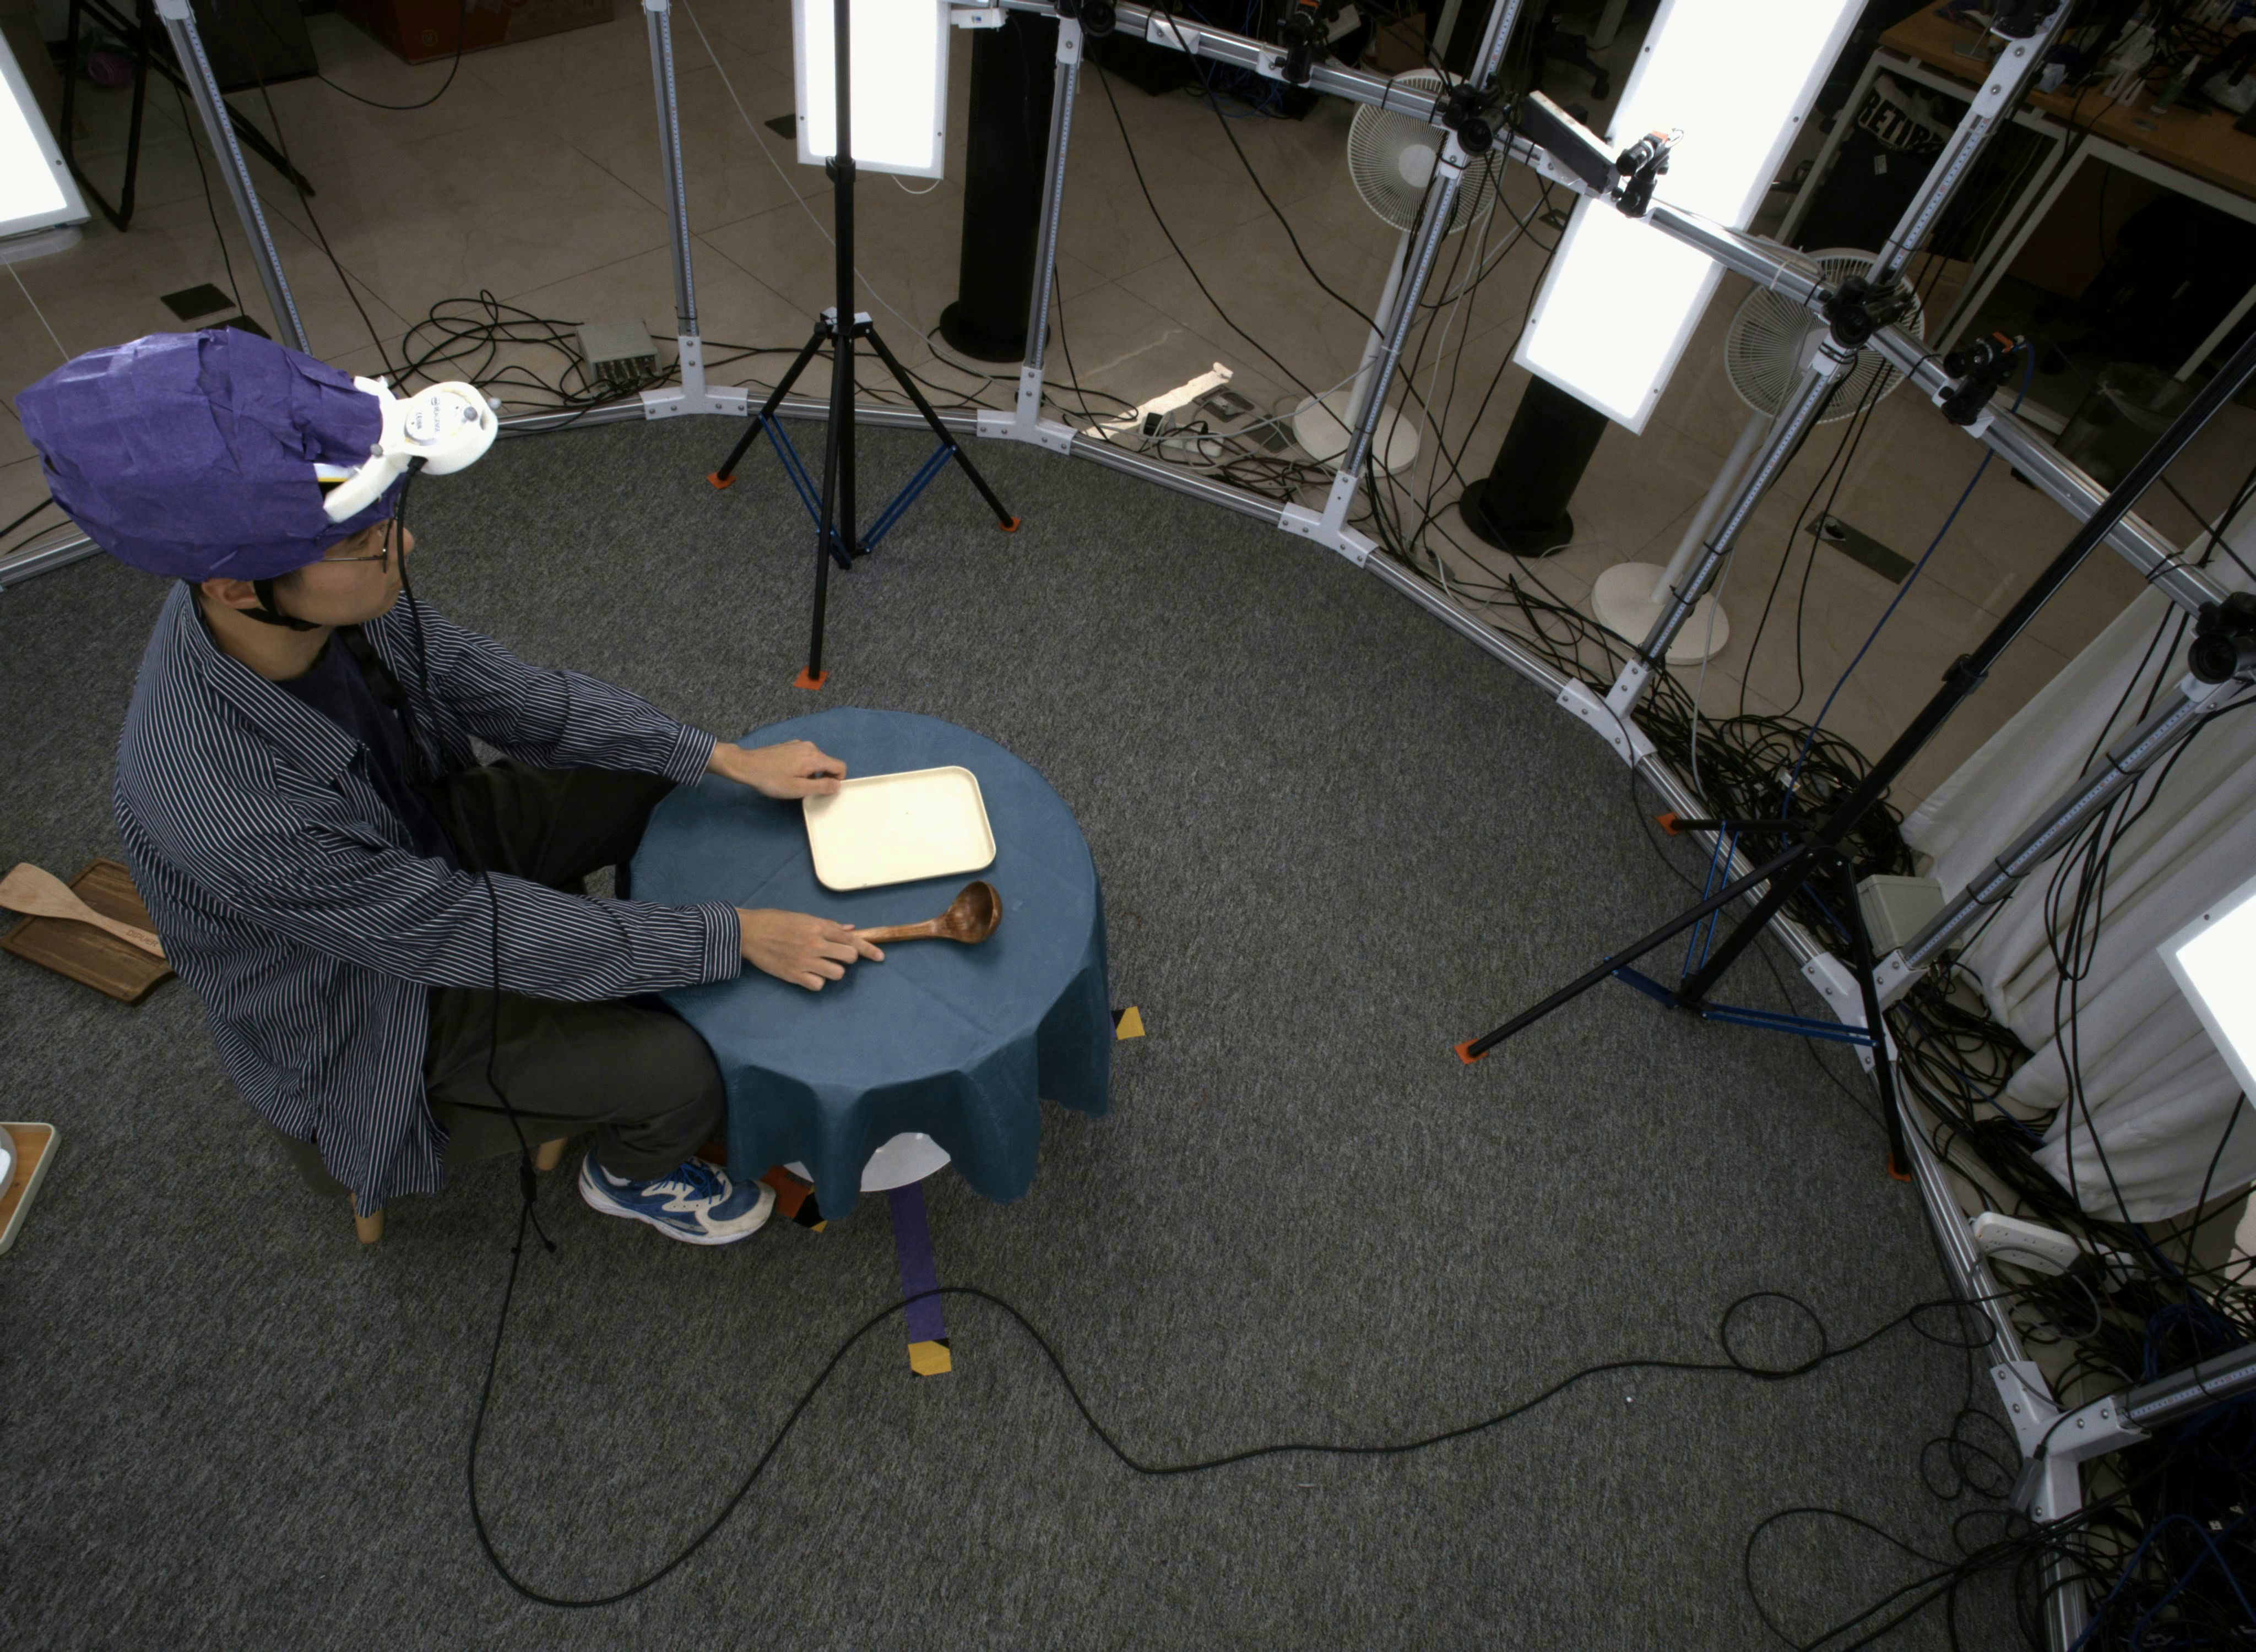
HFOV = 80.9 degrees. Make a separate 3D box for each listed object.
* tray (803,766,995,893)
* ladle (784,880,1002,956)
[{"bbox_3d":[-0.307,0.003,1.749,0.240,0.018,0.168,-9,61,-19],"label":"tray"},{"bbox_3d":[-0.294,0.121,1.632,0.275,0.078,0.080,-5,53,-17],"label":"ladle"}]
